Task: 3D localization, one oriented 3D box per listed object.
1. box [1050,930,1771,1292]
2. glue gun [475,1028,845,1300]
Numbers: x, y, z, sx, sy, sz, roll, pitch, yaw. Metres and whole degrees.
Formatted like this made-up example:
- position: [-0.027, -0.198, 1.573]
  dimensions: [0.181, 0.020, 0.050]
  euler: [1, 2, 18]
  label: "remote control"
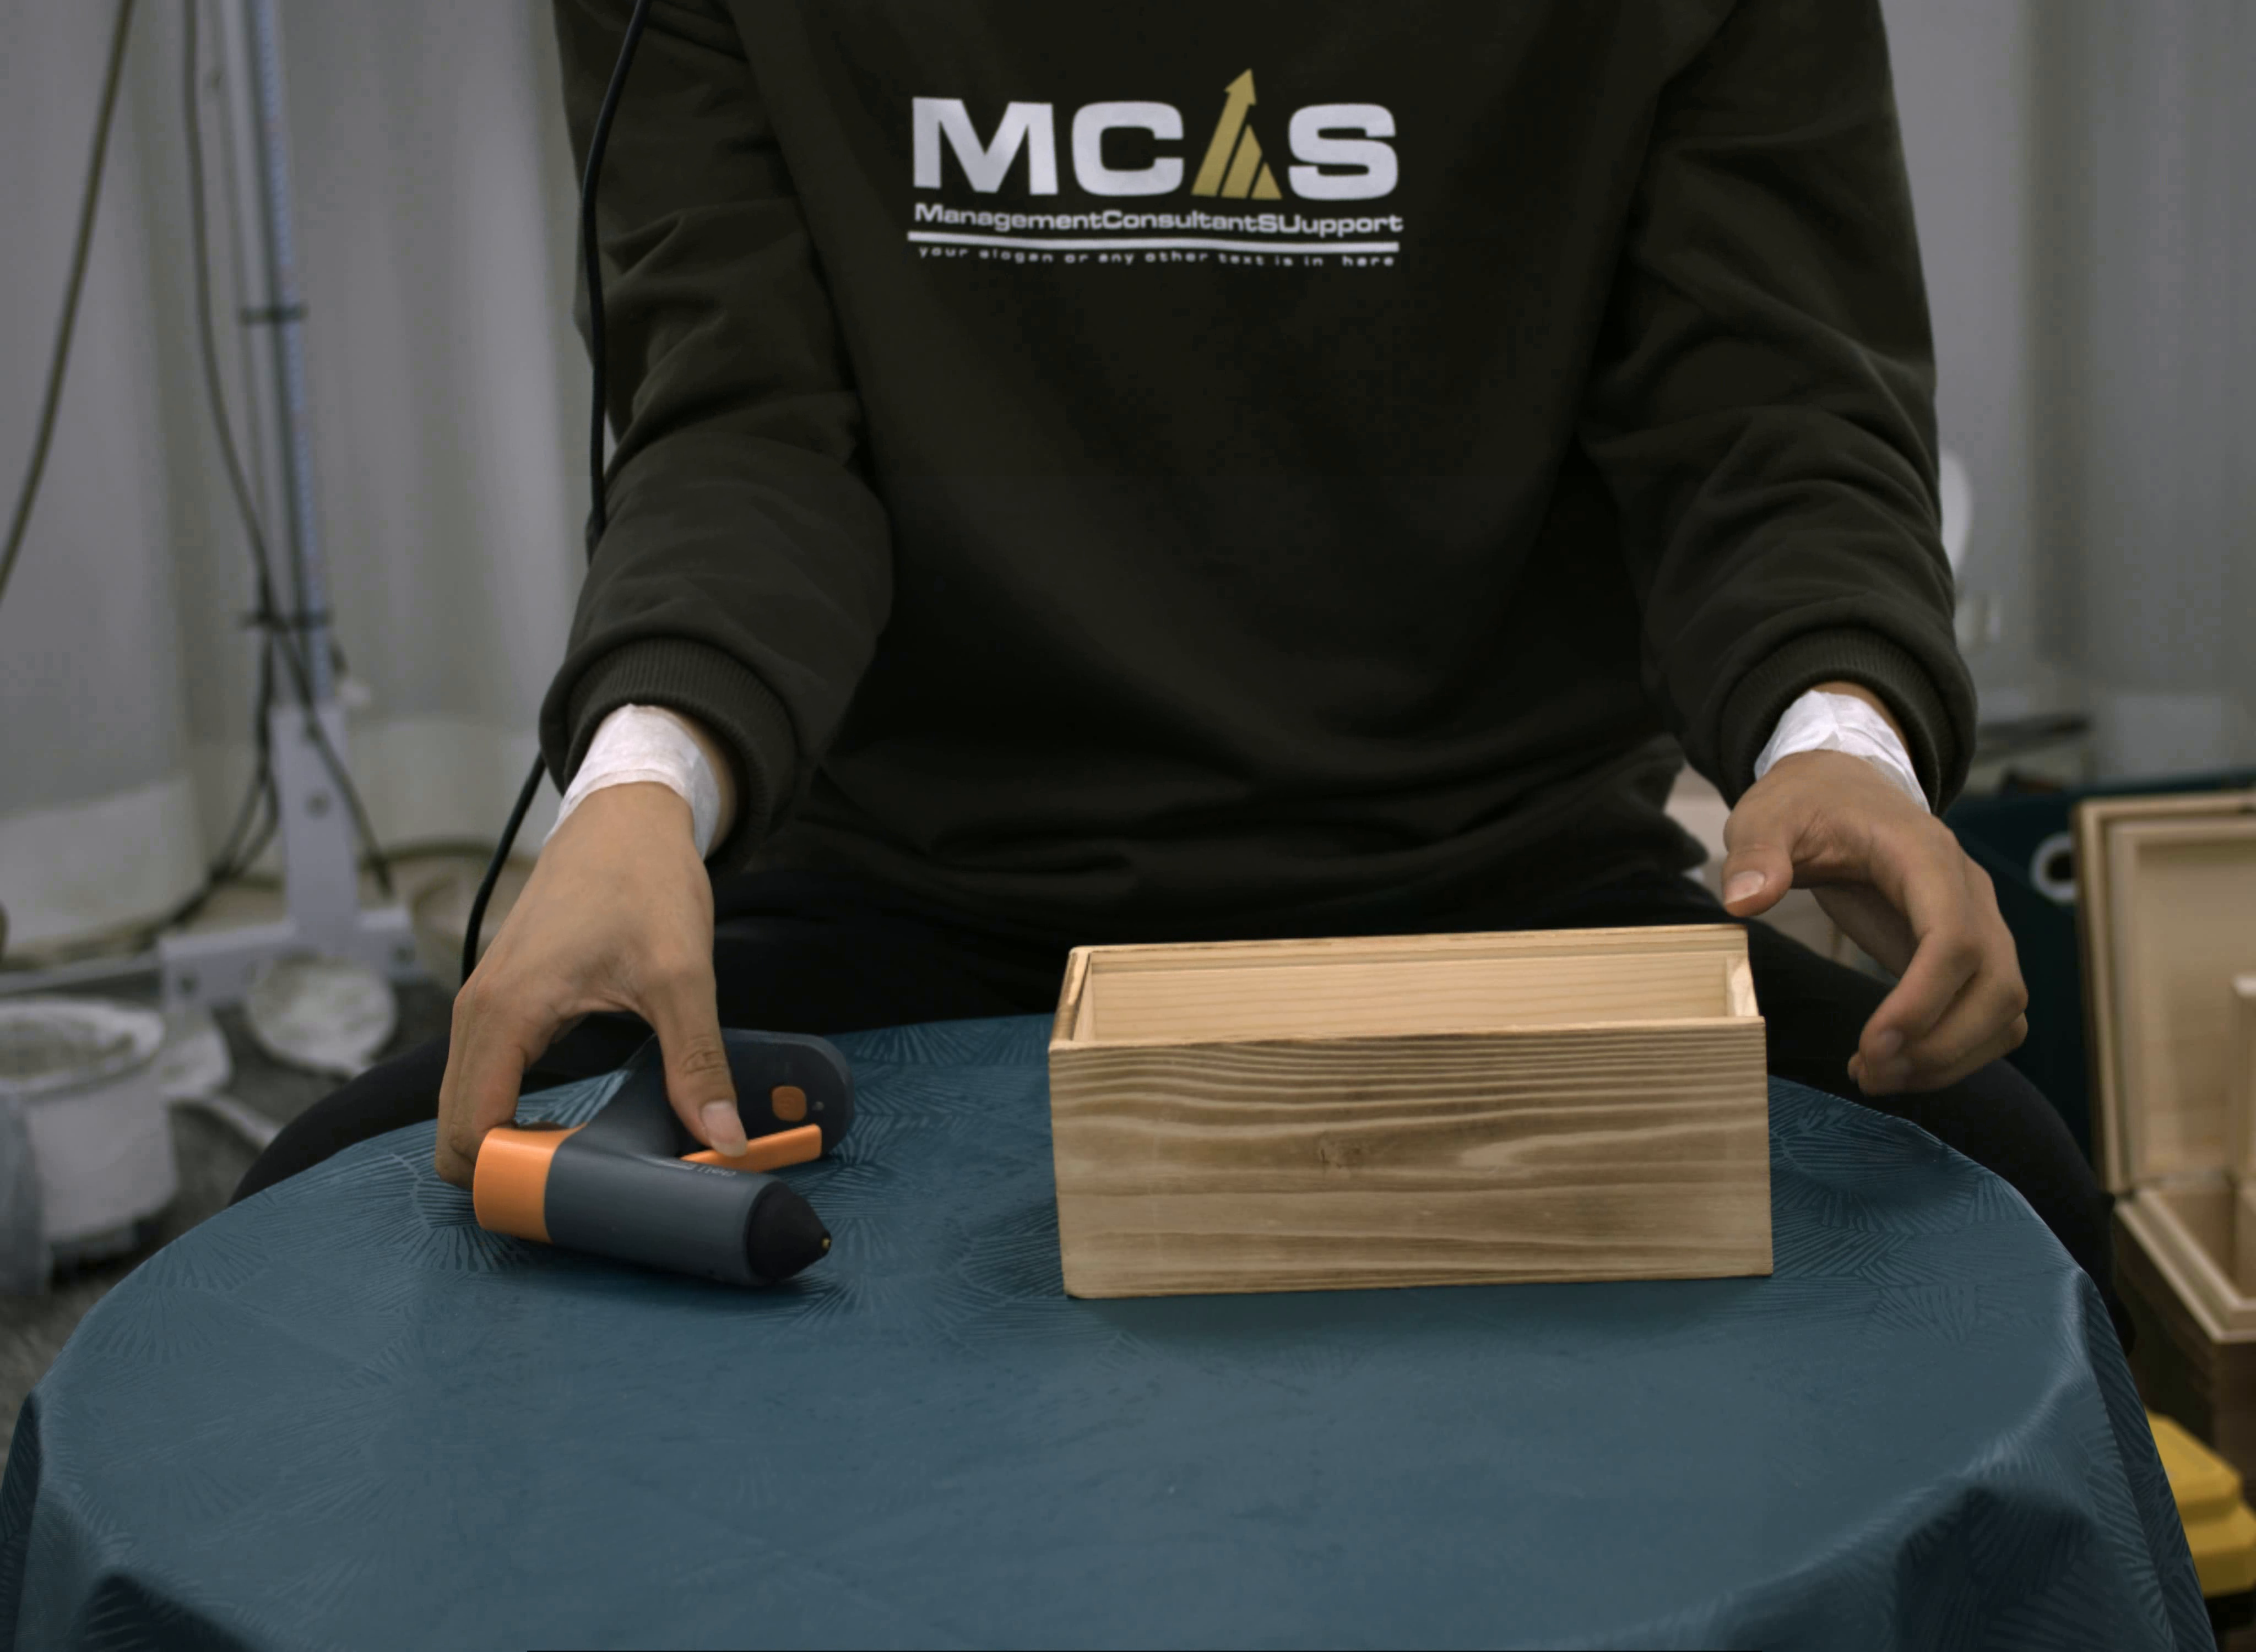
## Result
- position: [0.086, 0.085, 1.656]
  dimensions: [0.211, 0.080, 0.108]
  euler: [-2, 13, 4]
  label: "box"
- position: [-0.134, 0.107, 1.705]
  dimensions: [0.118, 0.041, 0.140]
  euler: [7, 17, 10]
  label: "glue gun"
